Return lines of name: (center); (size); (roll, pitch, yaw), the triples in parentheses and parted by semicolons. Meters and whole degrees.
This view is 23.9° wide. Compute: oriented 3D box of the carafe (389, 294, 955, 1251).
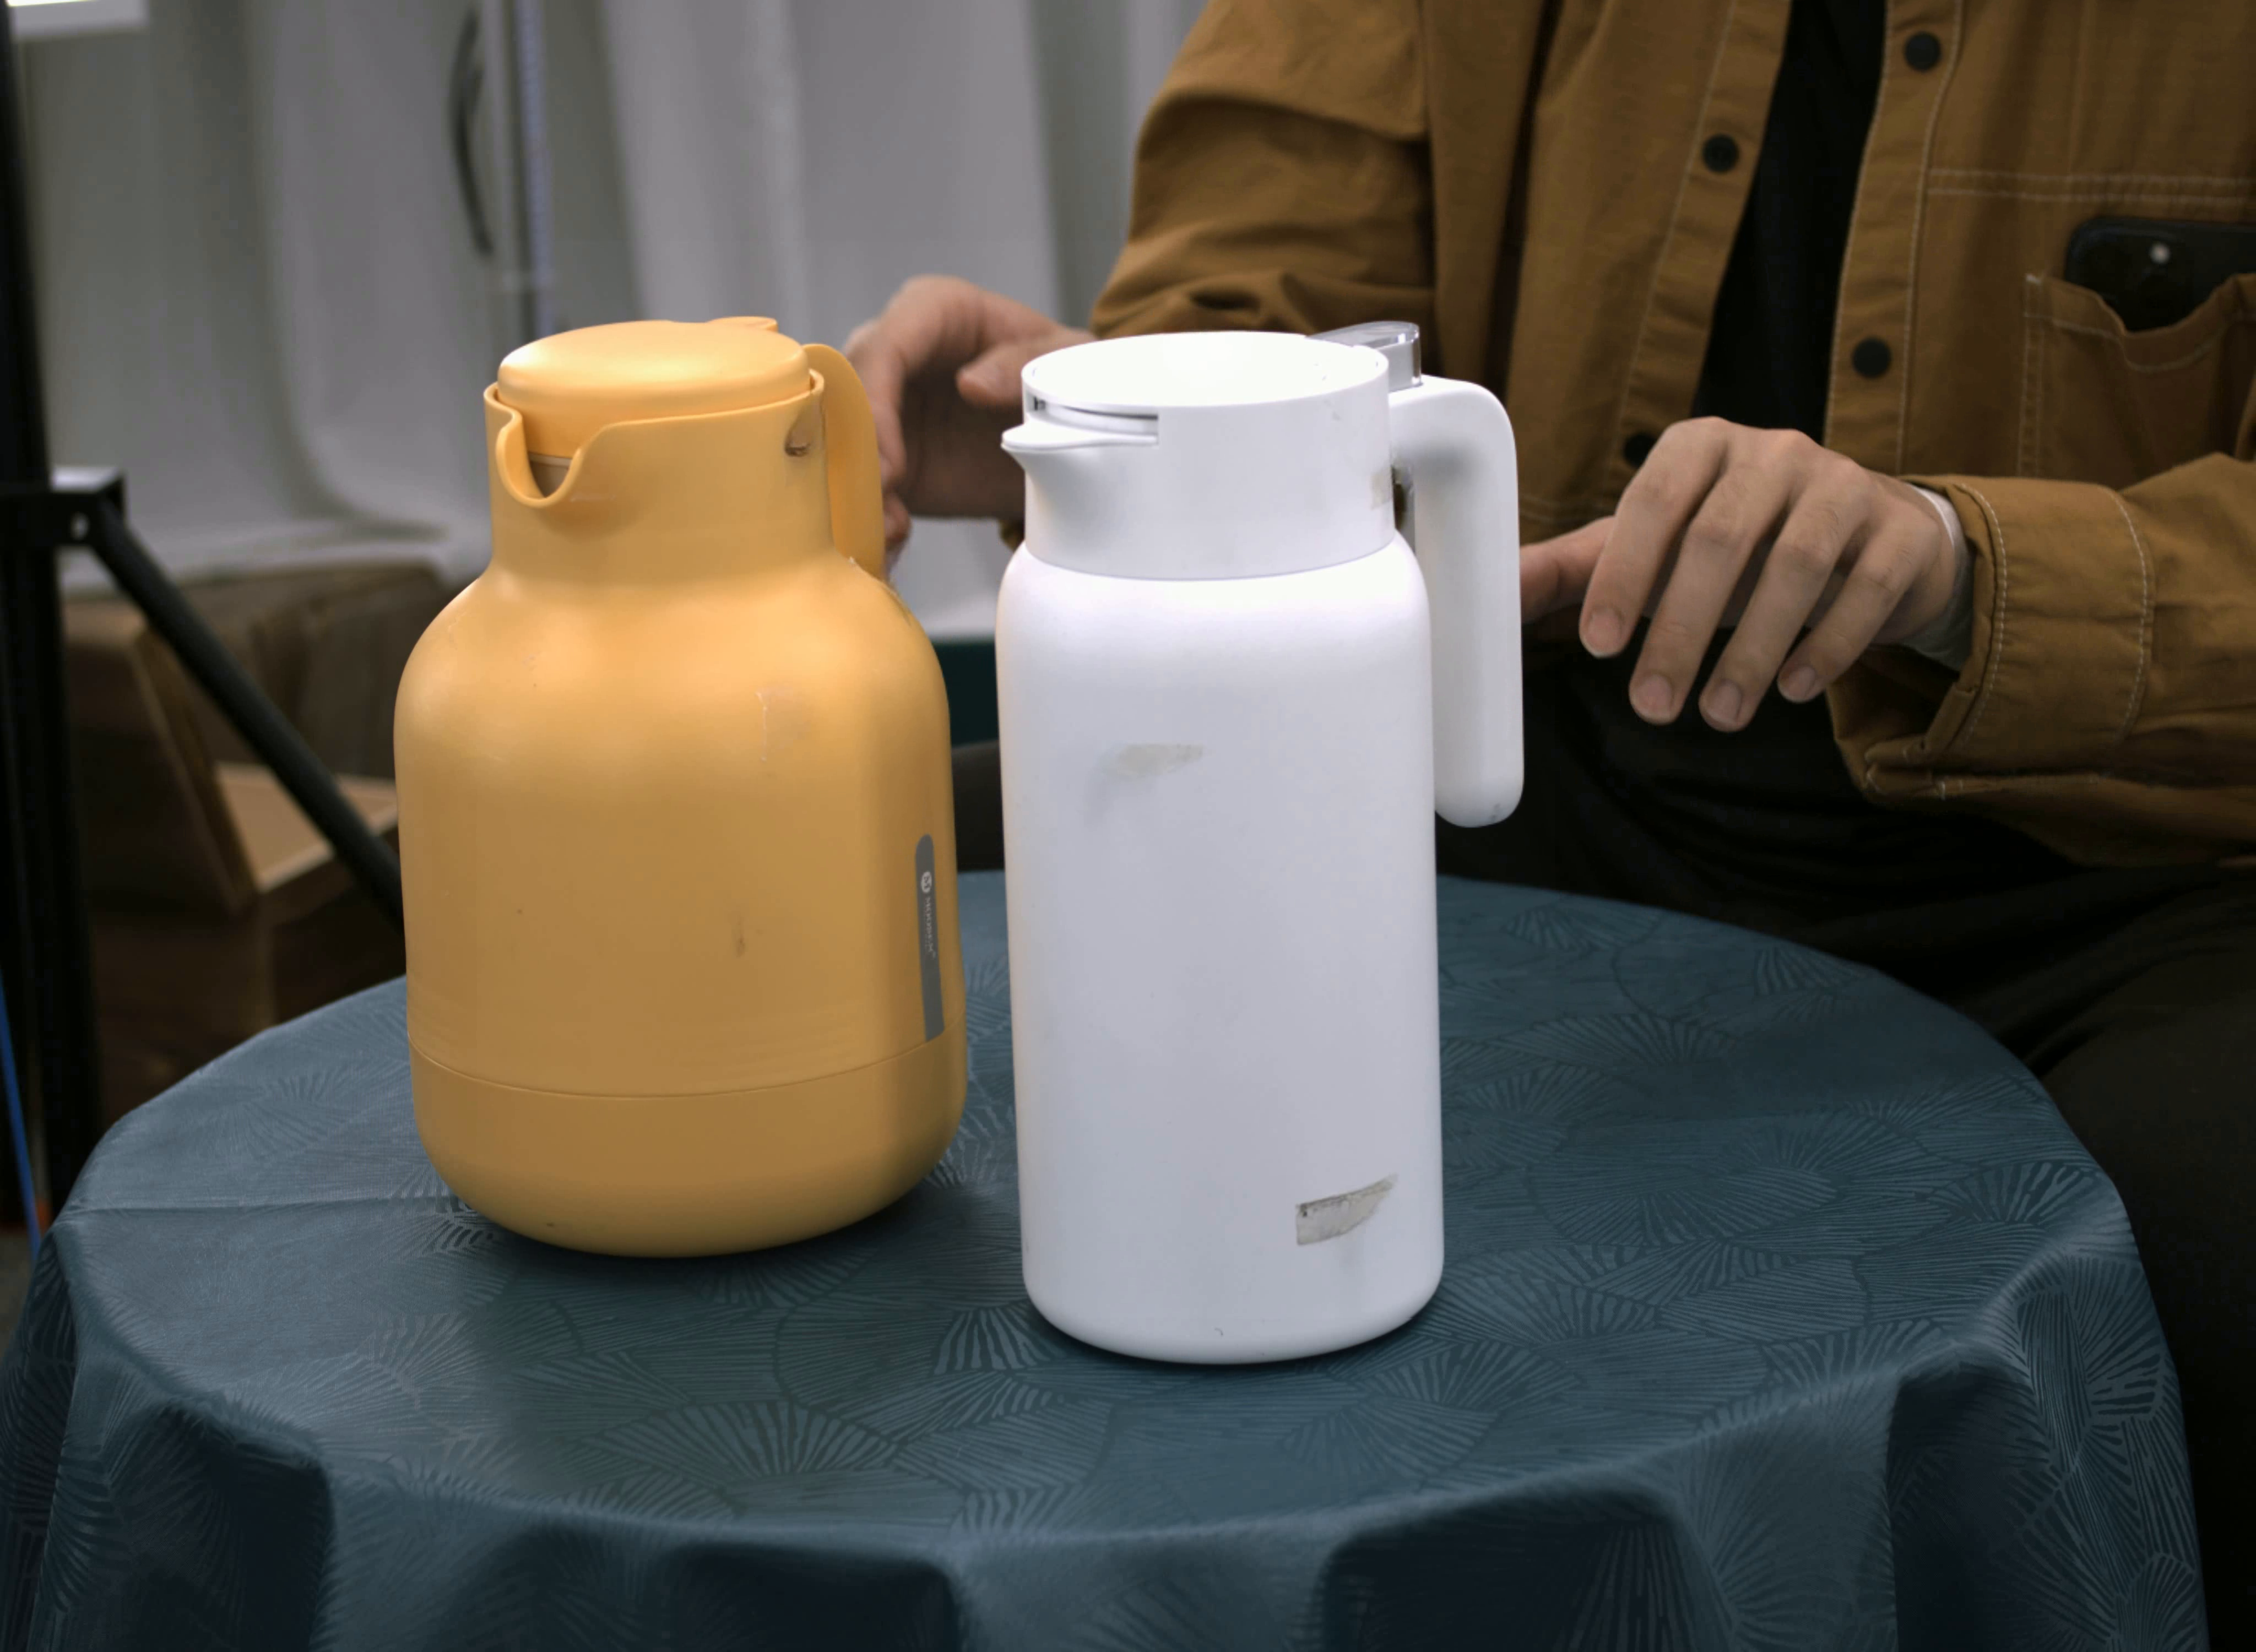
carafe: (-0.123, -0.023, 1.555); (0.166, 0.260, 0.199); (9, 20, 25)

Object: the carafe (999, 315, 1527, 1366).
carafe: (0.038, 0.000, 1.442); (0.169, 0.269, 0.126); (-14, 17, -39)
